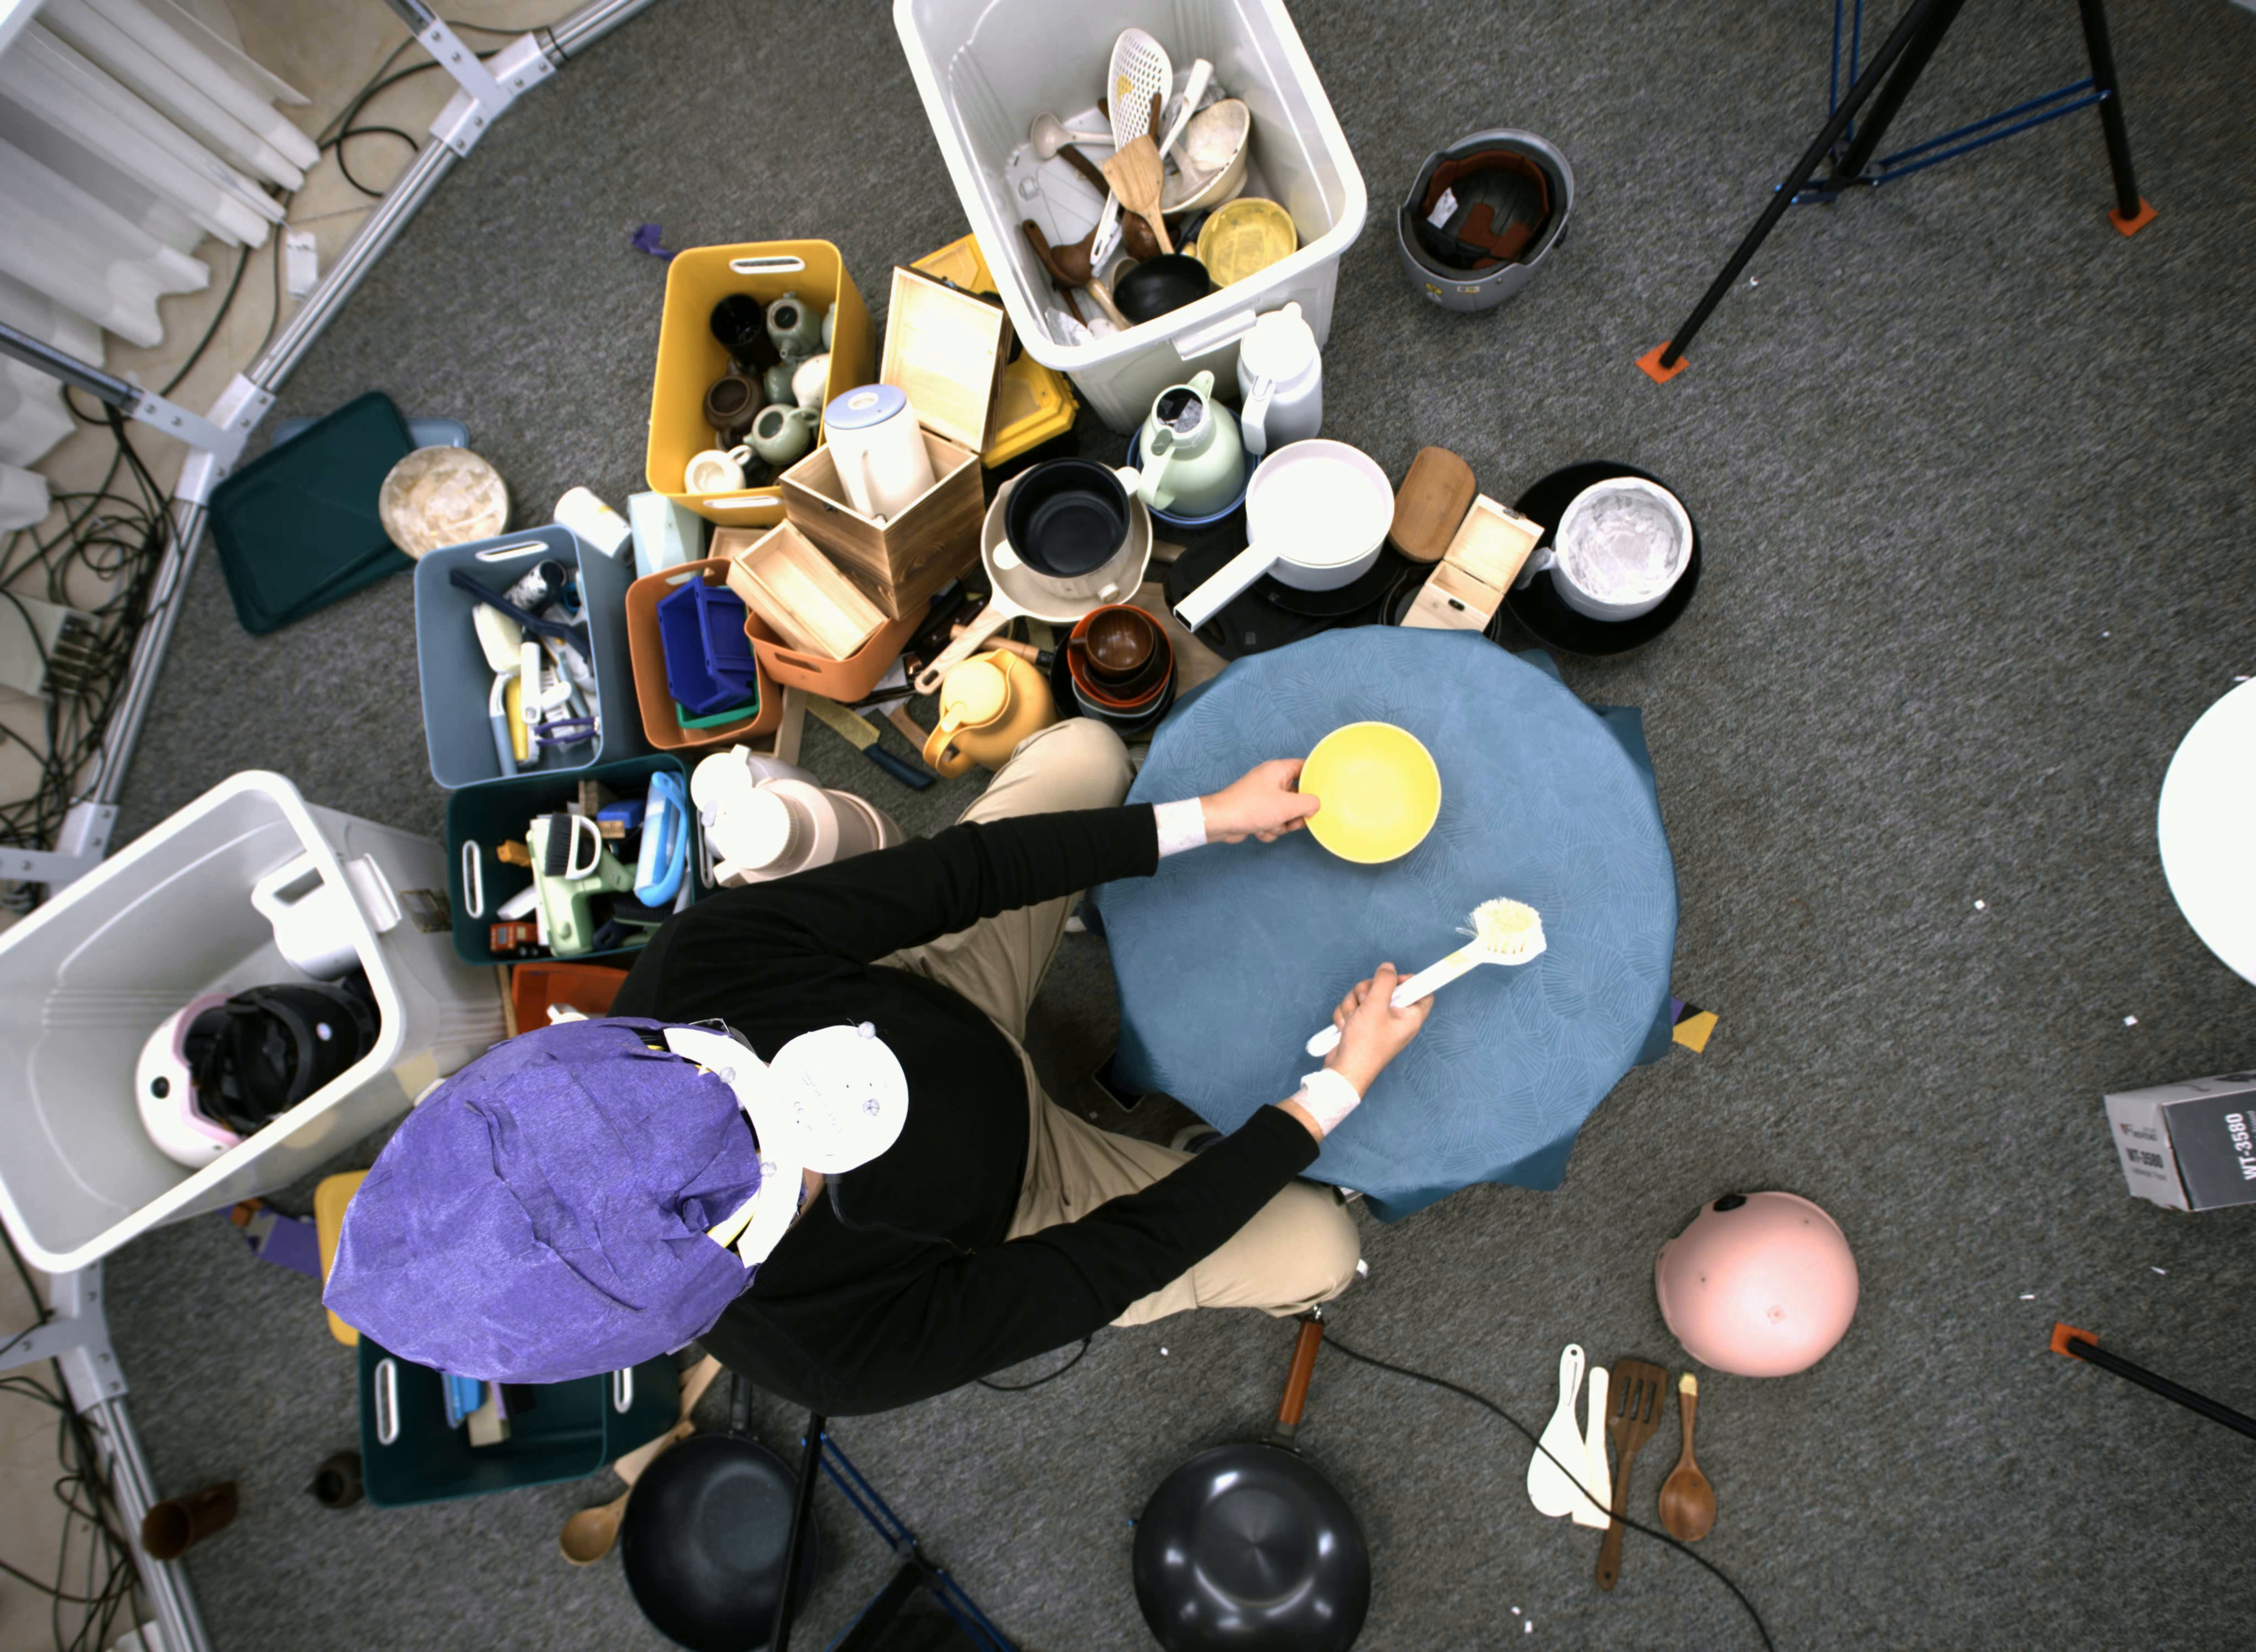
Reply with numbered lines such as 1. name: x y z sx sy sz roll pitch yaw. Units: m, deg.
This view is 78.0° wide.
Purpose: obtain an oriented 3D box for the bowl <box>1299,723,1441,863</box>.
1. bowl: 0.253 -0.035 1.437 0.146 0.060 0.145 0 92 12

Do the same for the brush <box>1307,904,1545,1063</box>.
1. brush: 0.288 0.153 1.369 0.268 0.067 0.057 -28 114 8
